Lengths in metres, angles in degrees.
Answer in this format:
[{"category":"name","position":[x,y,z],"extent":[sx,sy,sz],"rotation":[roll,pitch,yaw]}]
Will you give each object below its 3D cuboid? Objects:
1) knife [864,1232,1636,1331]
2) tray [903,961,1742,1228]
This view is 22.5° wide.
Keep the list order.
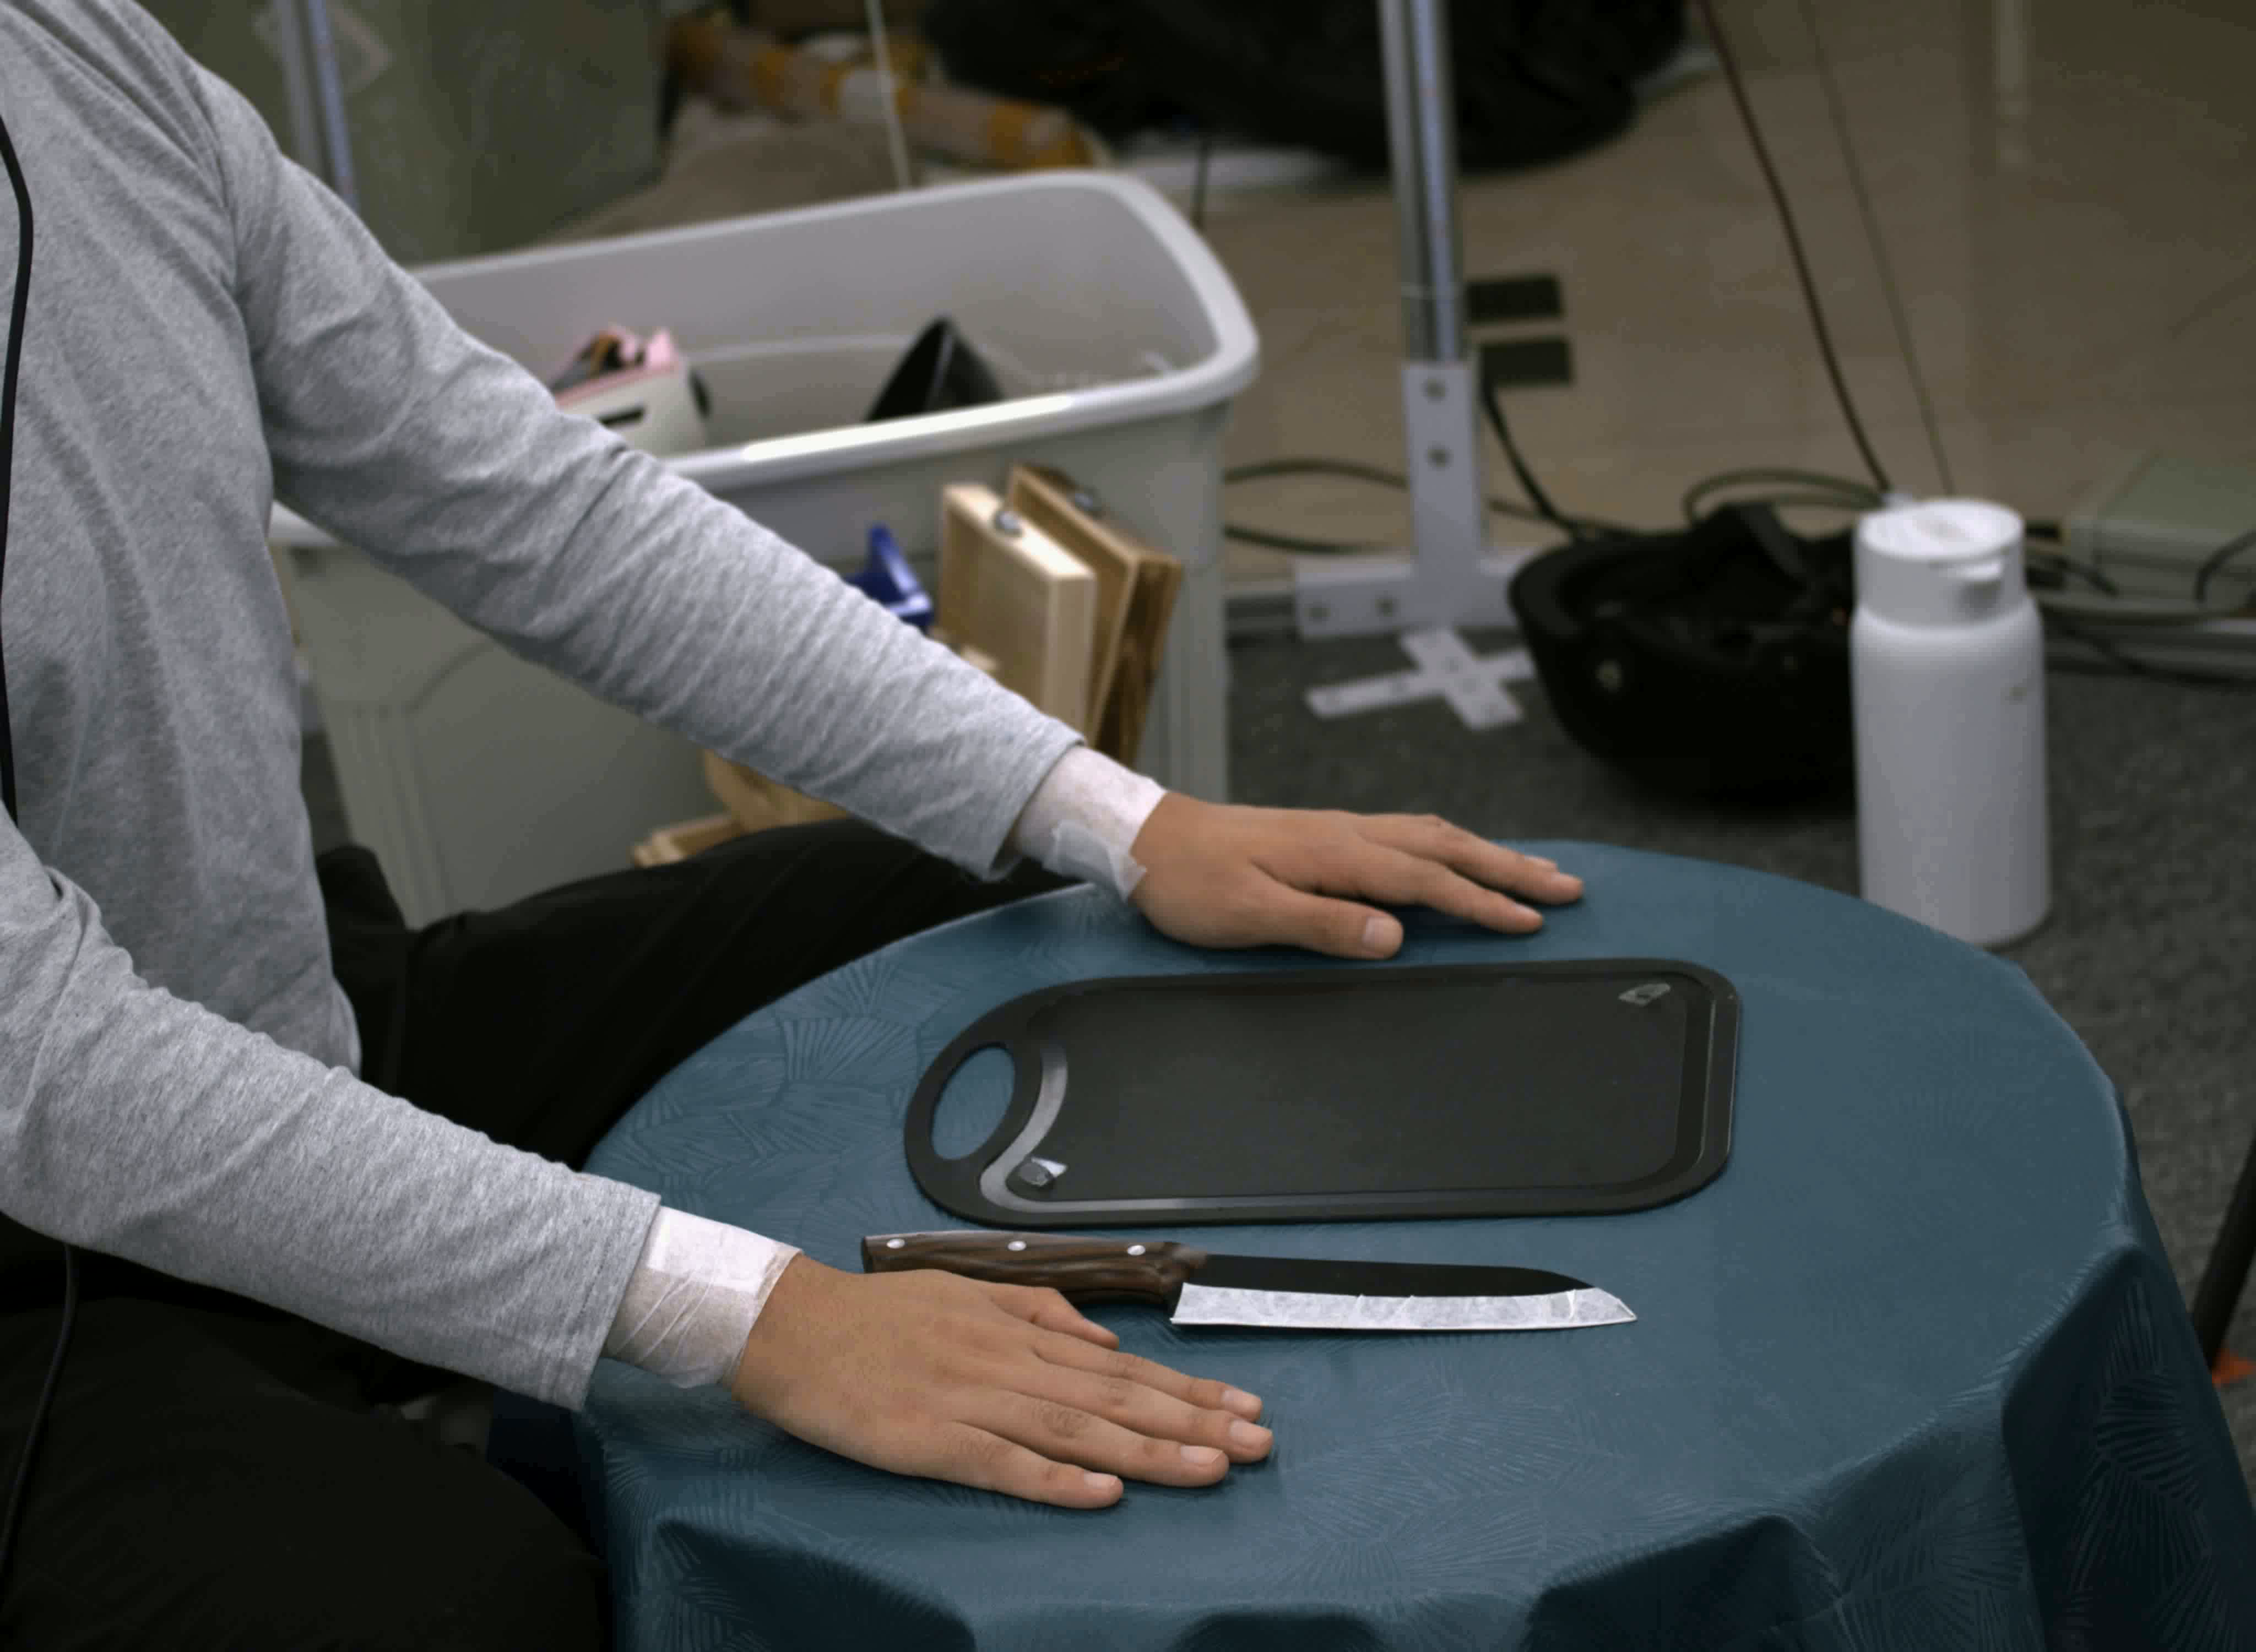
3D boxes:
[{"category":"knife","position":[0.042,0.168,2.062],"extent":[0.288,0.020,0.049],"rotation":[2,32,13]},{"category":"tray","position":[0.073,0.102,2.207],"extent":[0.325,0.010,0.208],"rotation":[-2,25,10]}]
